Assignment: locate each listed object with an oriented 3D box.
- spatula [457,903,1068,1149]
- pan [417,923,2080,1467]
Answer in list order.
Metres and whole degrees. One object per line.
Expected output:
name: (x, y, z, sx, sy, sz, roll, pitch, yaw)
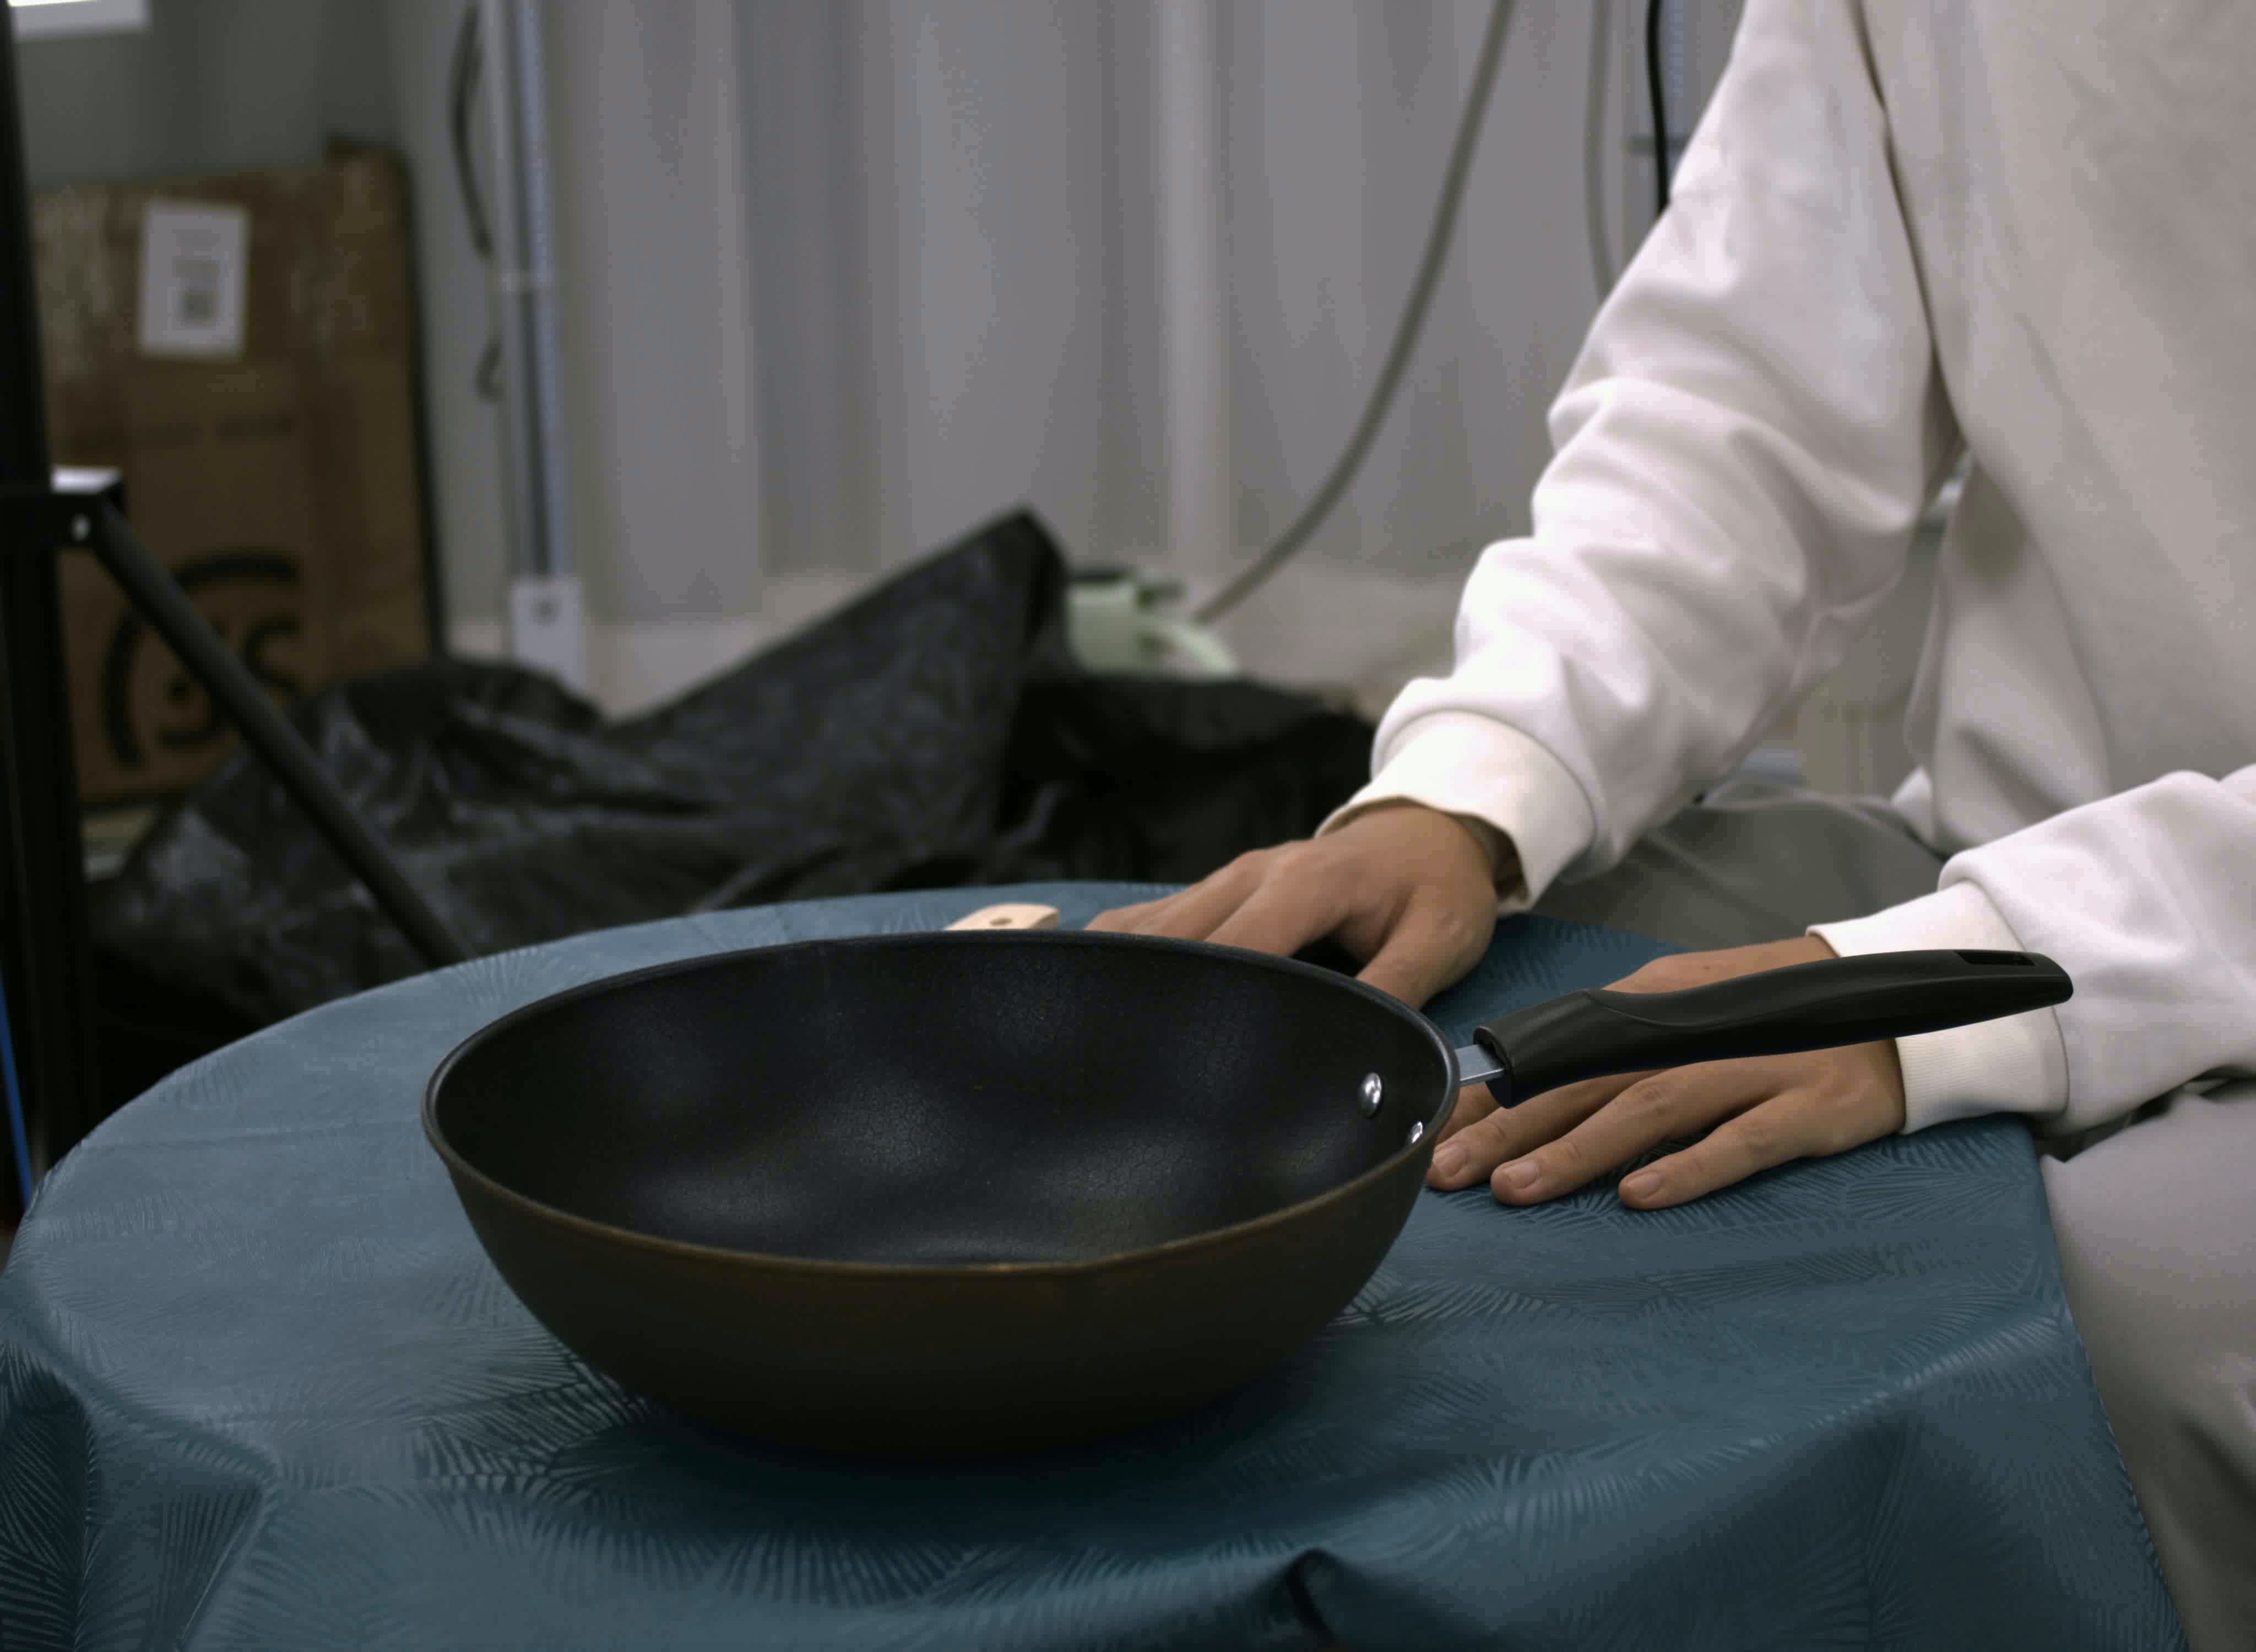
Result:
spatula: (-0.103, 0.066, 1.708, 0.073, 0.010, 0.287, 6, 18, 31)
pan: (0.038, 0.097, 1.445, 0.457, 0.087, 0.292, -5, 16, -12)
